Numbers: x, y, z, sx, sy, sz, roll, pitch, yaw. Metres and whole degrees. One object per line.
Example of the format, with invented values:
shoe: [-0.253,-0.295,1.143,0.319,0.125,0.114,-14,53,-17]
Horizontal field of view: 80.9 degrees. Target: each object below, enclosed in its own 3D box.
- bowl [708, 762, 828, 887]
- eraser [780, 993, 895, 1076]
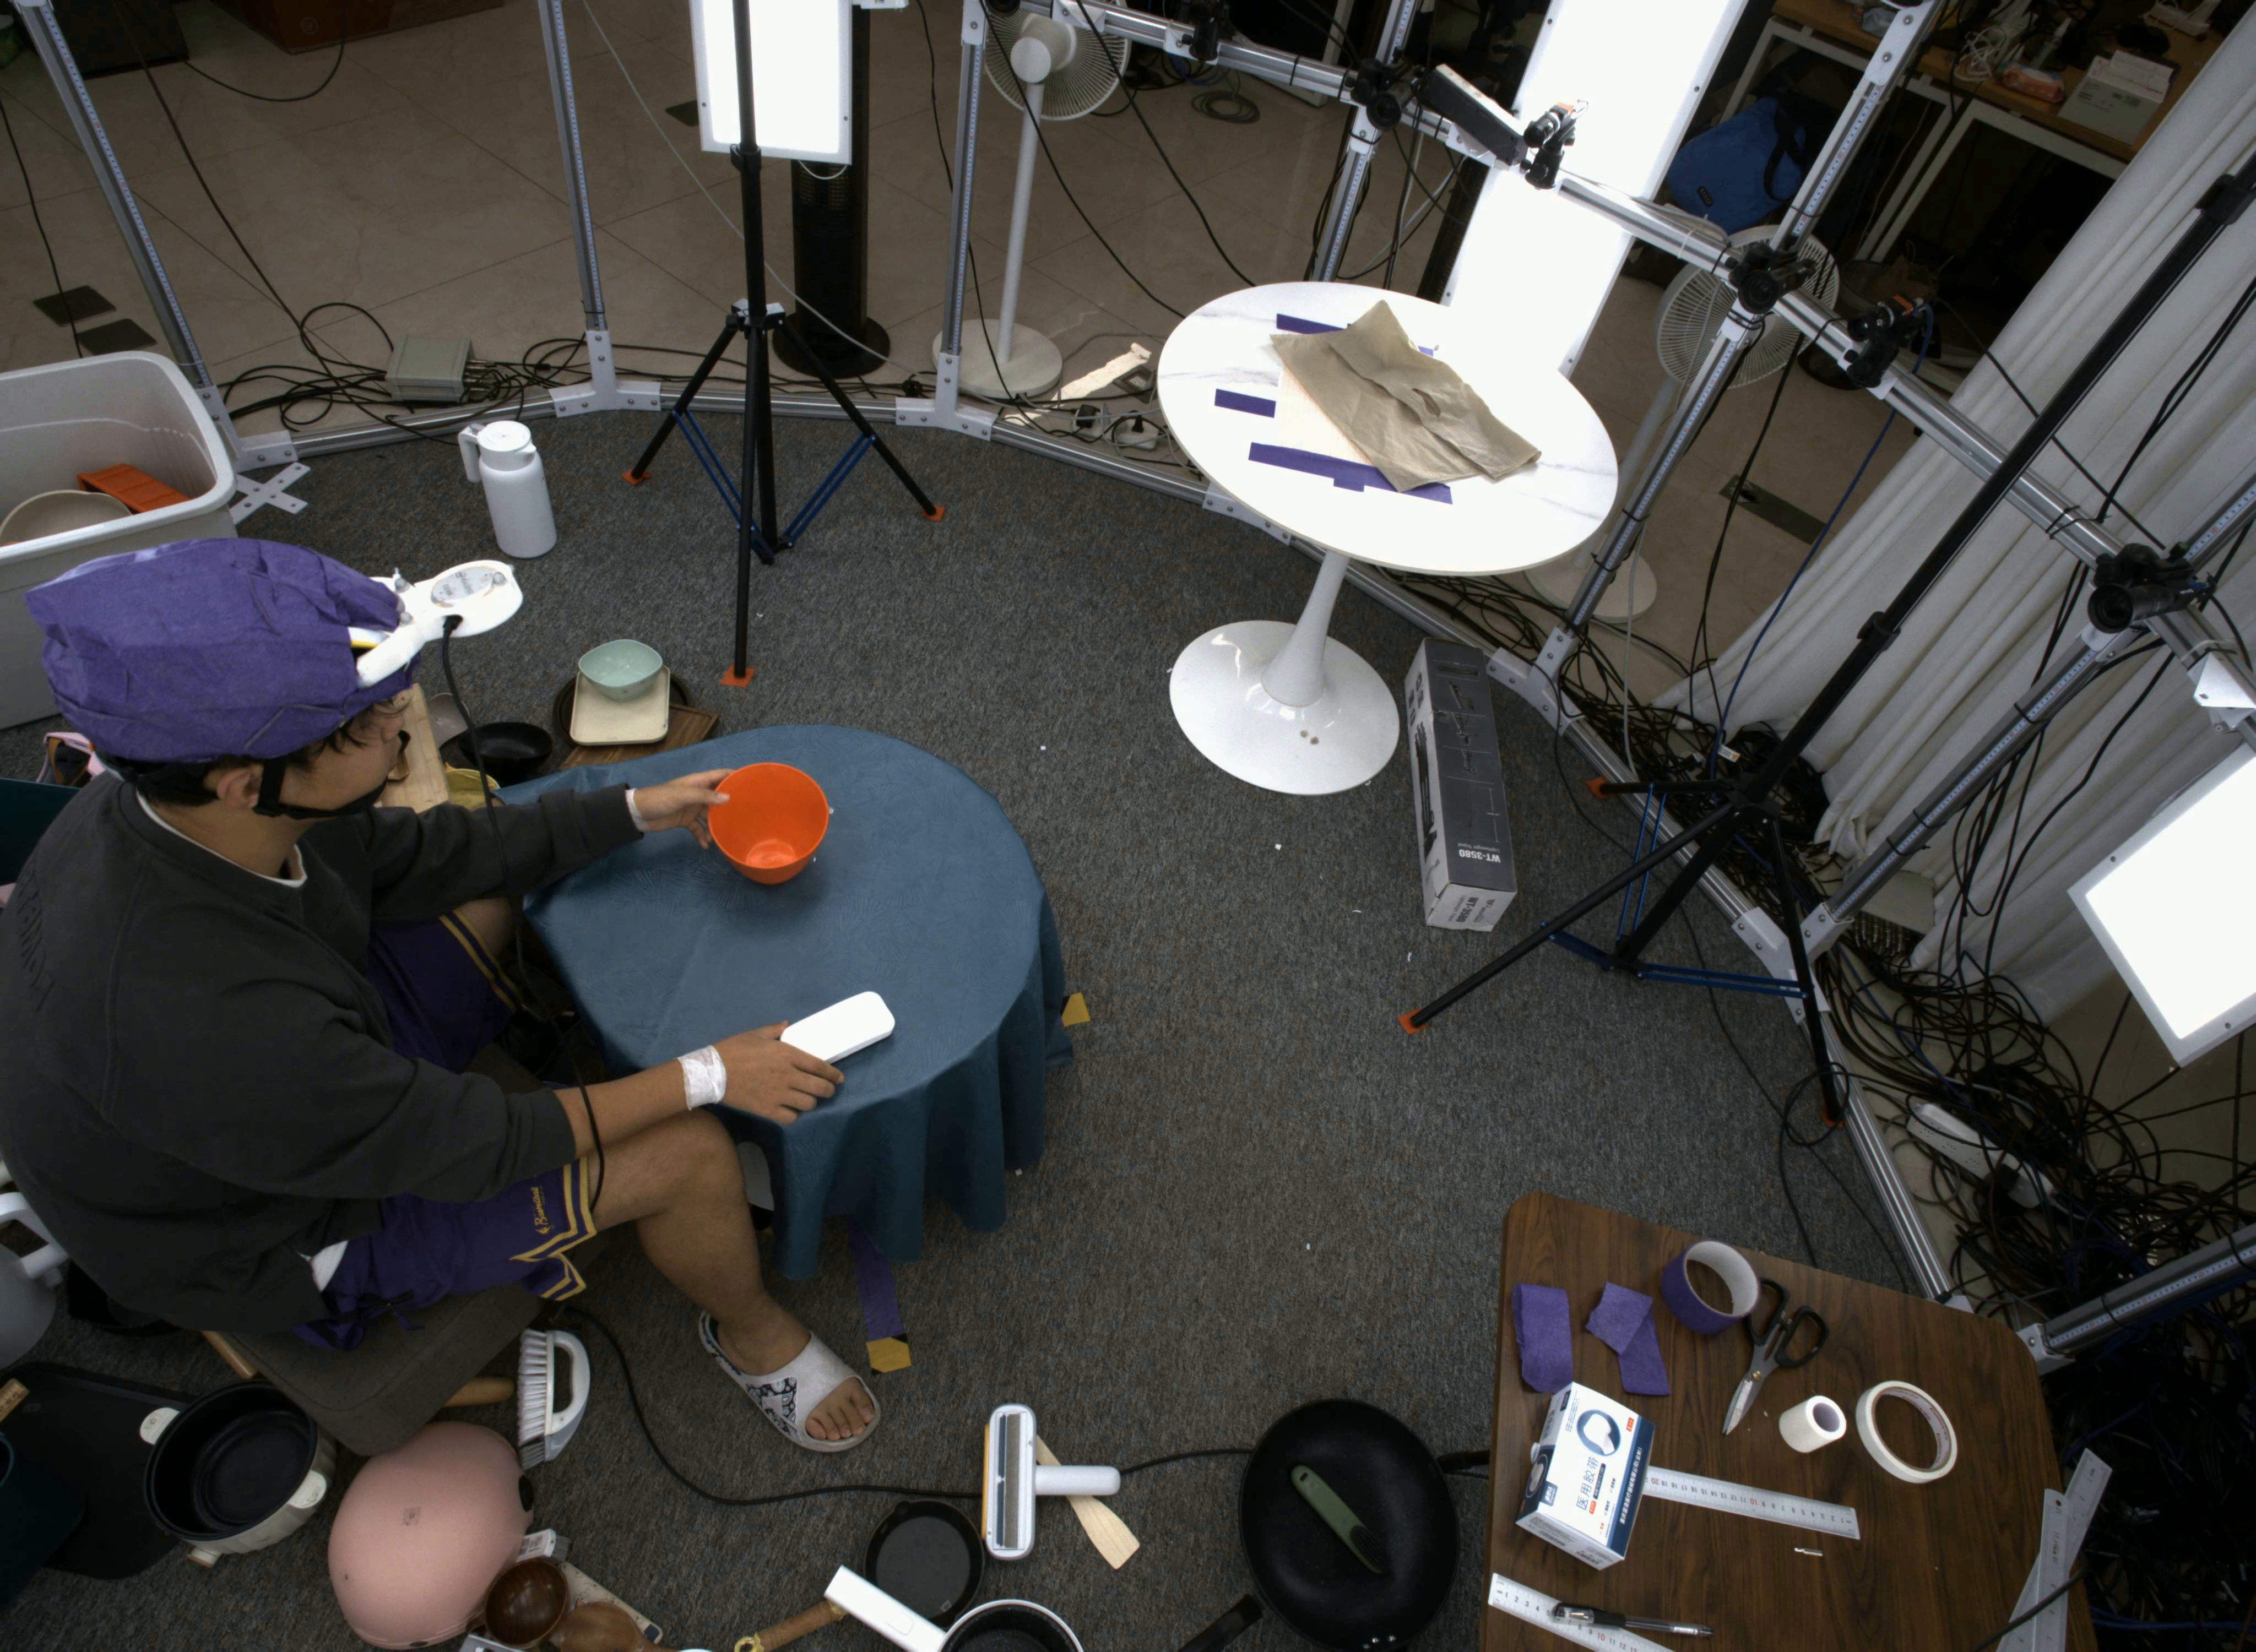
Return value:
bowl: [-0.456,0.009,1.650,0.148,0.107,0.145,7,53,-8]
eraser: [-0.346,0.243,1.546,0.132,0.035,0.062,-21,60,-29]
